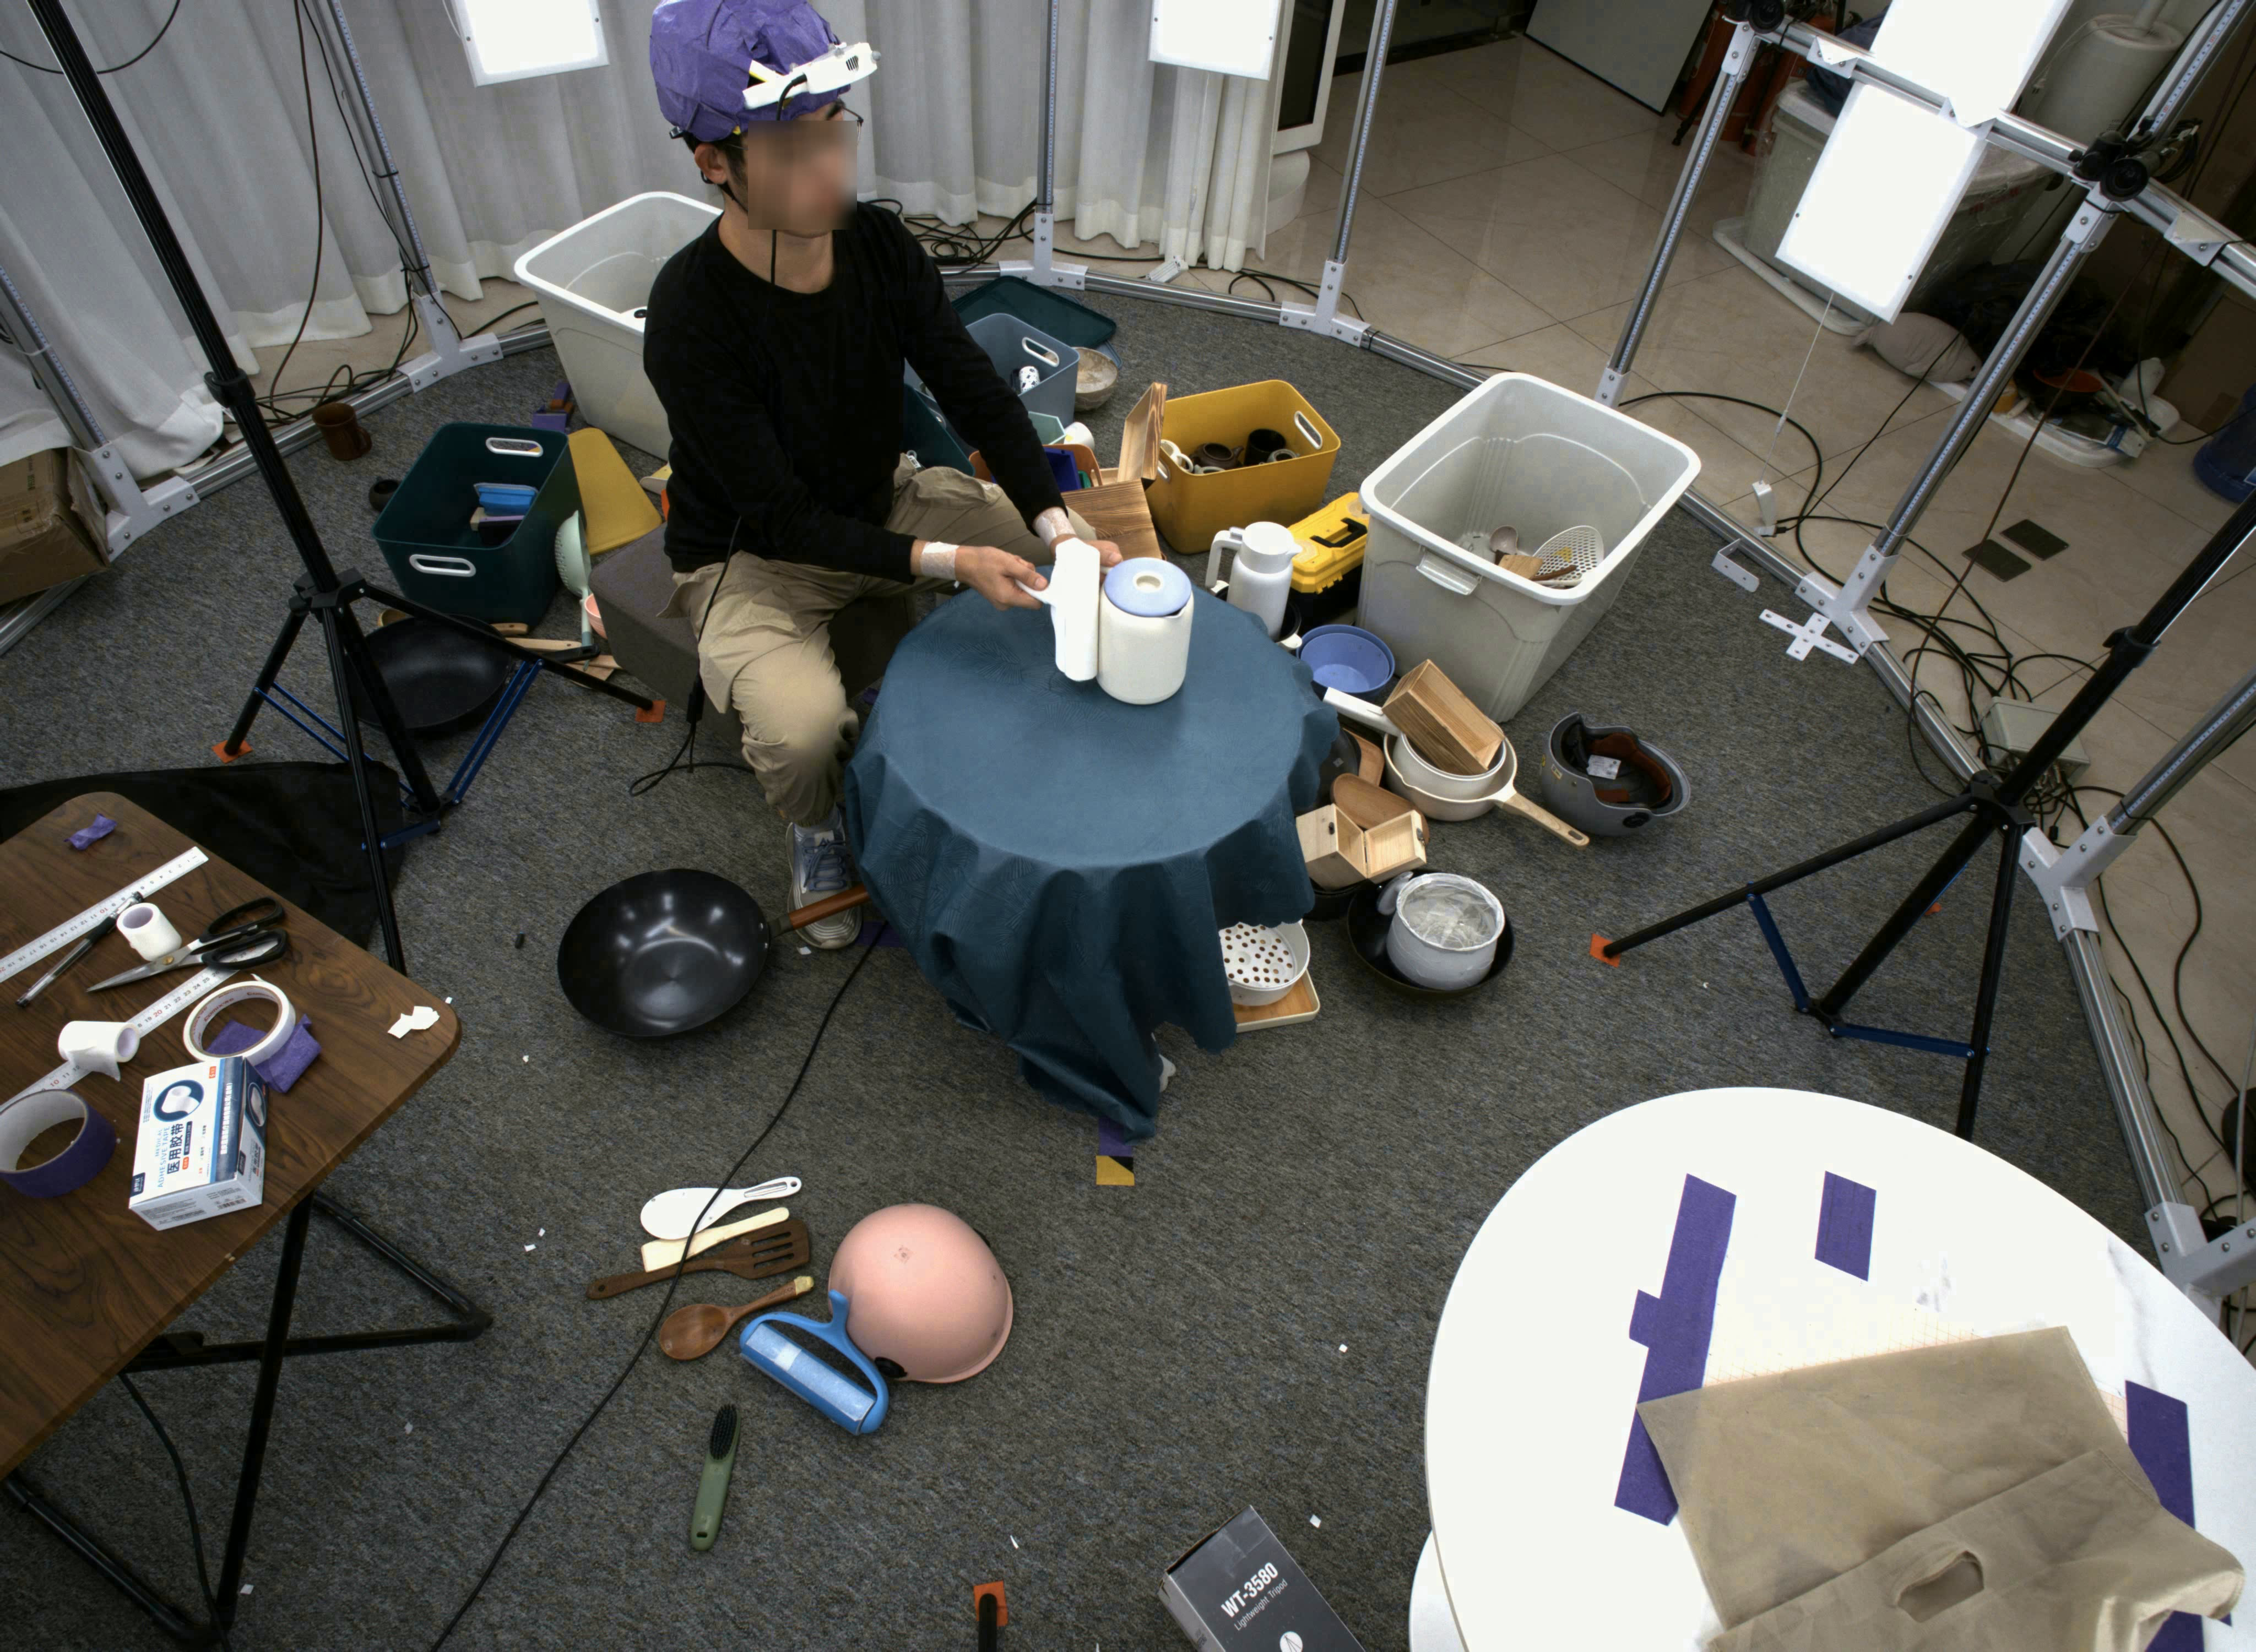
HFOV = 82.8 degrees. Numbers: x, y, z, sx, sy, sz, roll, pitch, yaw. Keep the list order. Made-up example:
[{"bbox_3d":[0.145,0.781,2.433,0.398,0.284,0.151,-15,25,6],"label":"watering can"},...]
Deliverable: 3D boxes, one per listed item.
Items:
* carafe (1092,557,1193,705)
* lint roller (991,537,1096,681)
[{"bbox_3d":[0.006,-0.287,1.809,0.133,0.178,0.194,-29,55,-26],"label":"carafe"},{"bbox_3d":[-0.126,-0.332,1.806,0.048,0.198,0.229,-30,49,-30],"label":"lint roller"}]
